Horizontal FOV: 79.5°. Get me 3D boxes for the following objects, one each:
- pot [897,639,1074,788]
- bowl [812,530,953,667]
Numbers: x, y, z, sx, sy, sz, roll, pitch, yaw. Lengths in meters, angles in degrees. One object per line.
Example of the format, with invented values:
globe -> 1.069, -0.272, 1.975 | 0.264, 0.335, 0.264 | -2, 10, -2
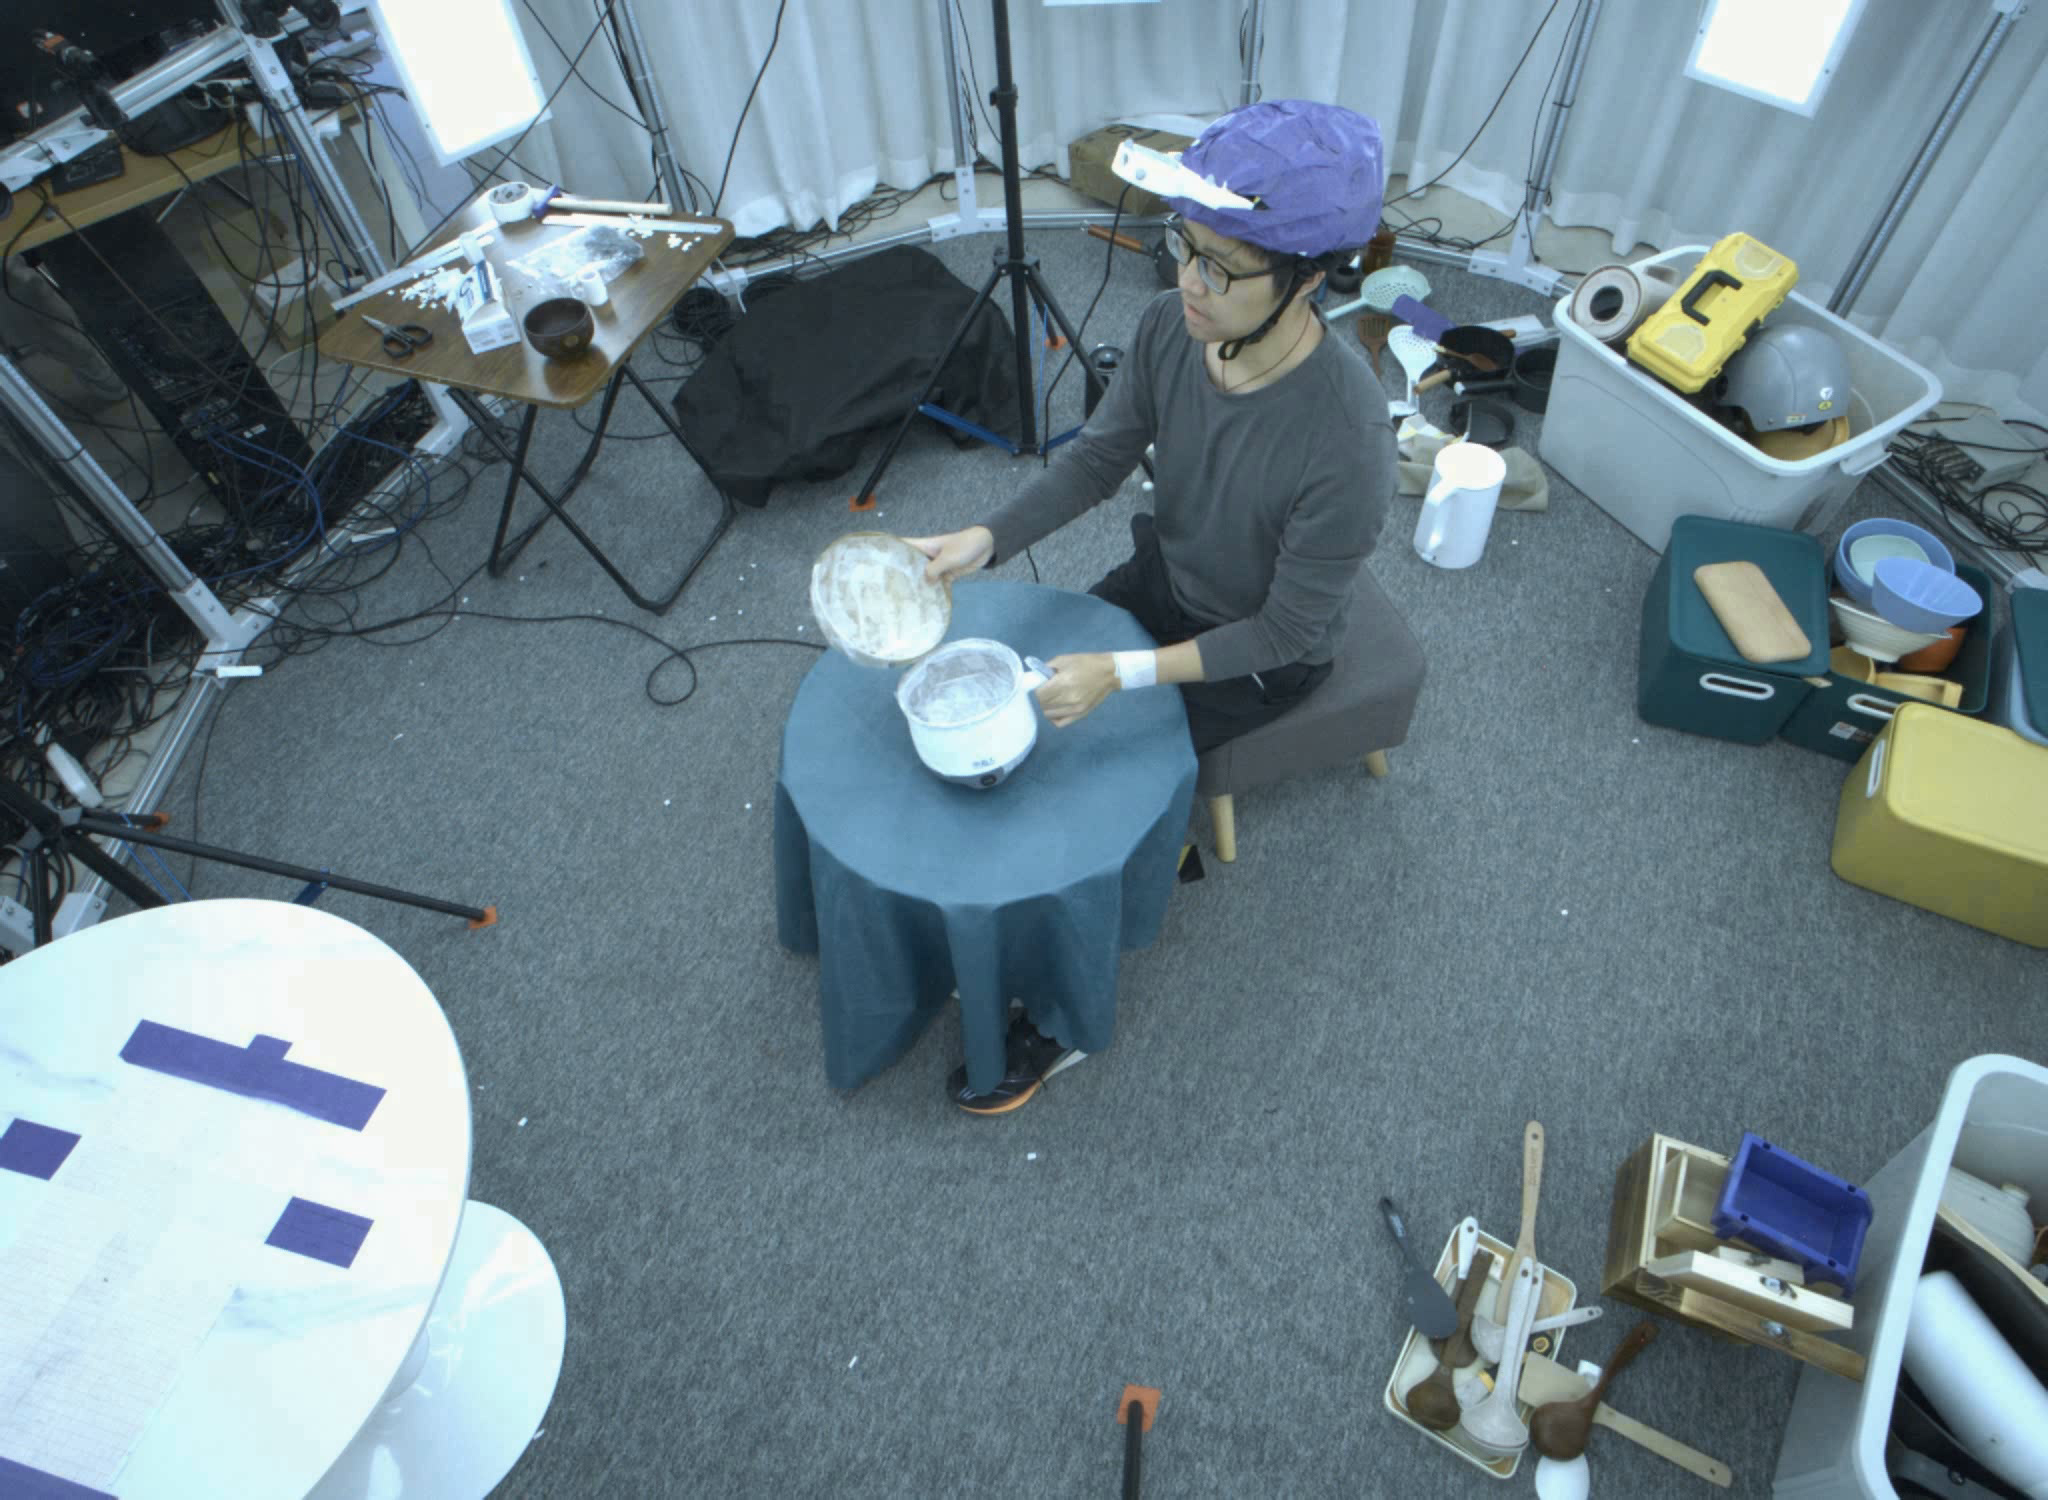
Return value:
pot -> -0.050, -0.059, 1.734 | 0.234, 0.139, 0.175 | -17, 45, -2
bowl -> -0.208, -0.198, 1.718 | 0.219, 0.093, 0.213 | 15, 60, -26
